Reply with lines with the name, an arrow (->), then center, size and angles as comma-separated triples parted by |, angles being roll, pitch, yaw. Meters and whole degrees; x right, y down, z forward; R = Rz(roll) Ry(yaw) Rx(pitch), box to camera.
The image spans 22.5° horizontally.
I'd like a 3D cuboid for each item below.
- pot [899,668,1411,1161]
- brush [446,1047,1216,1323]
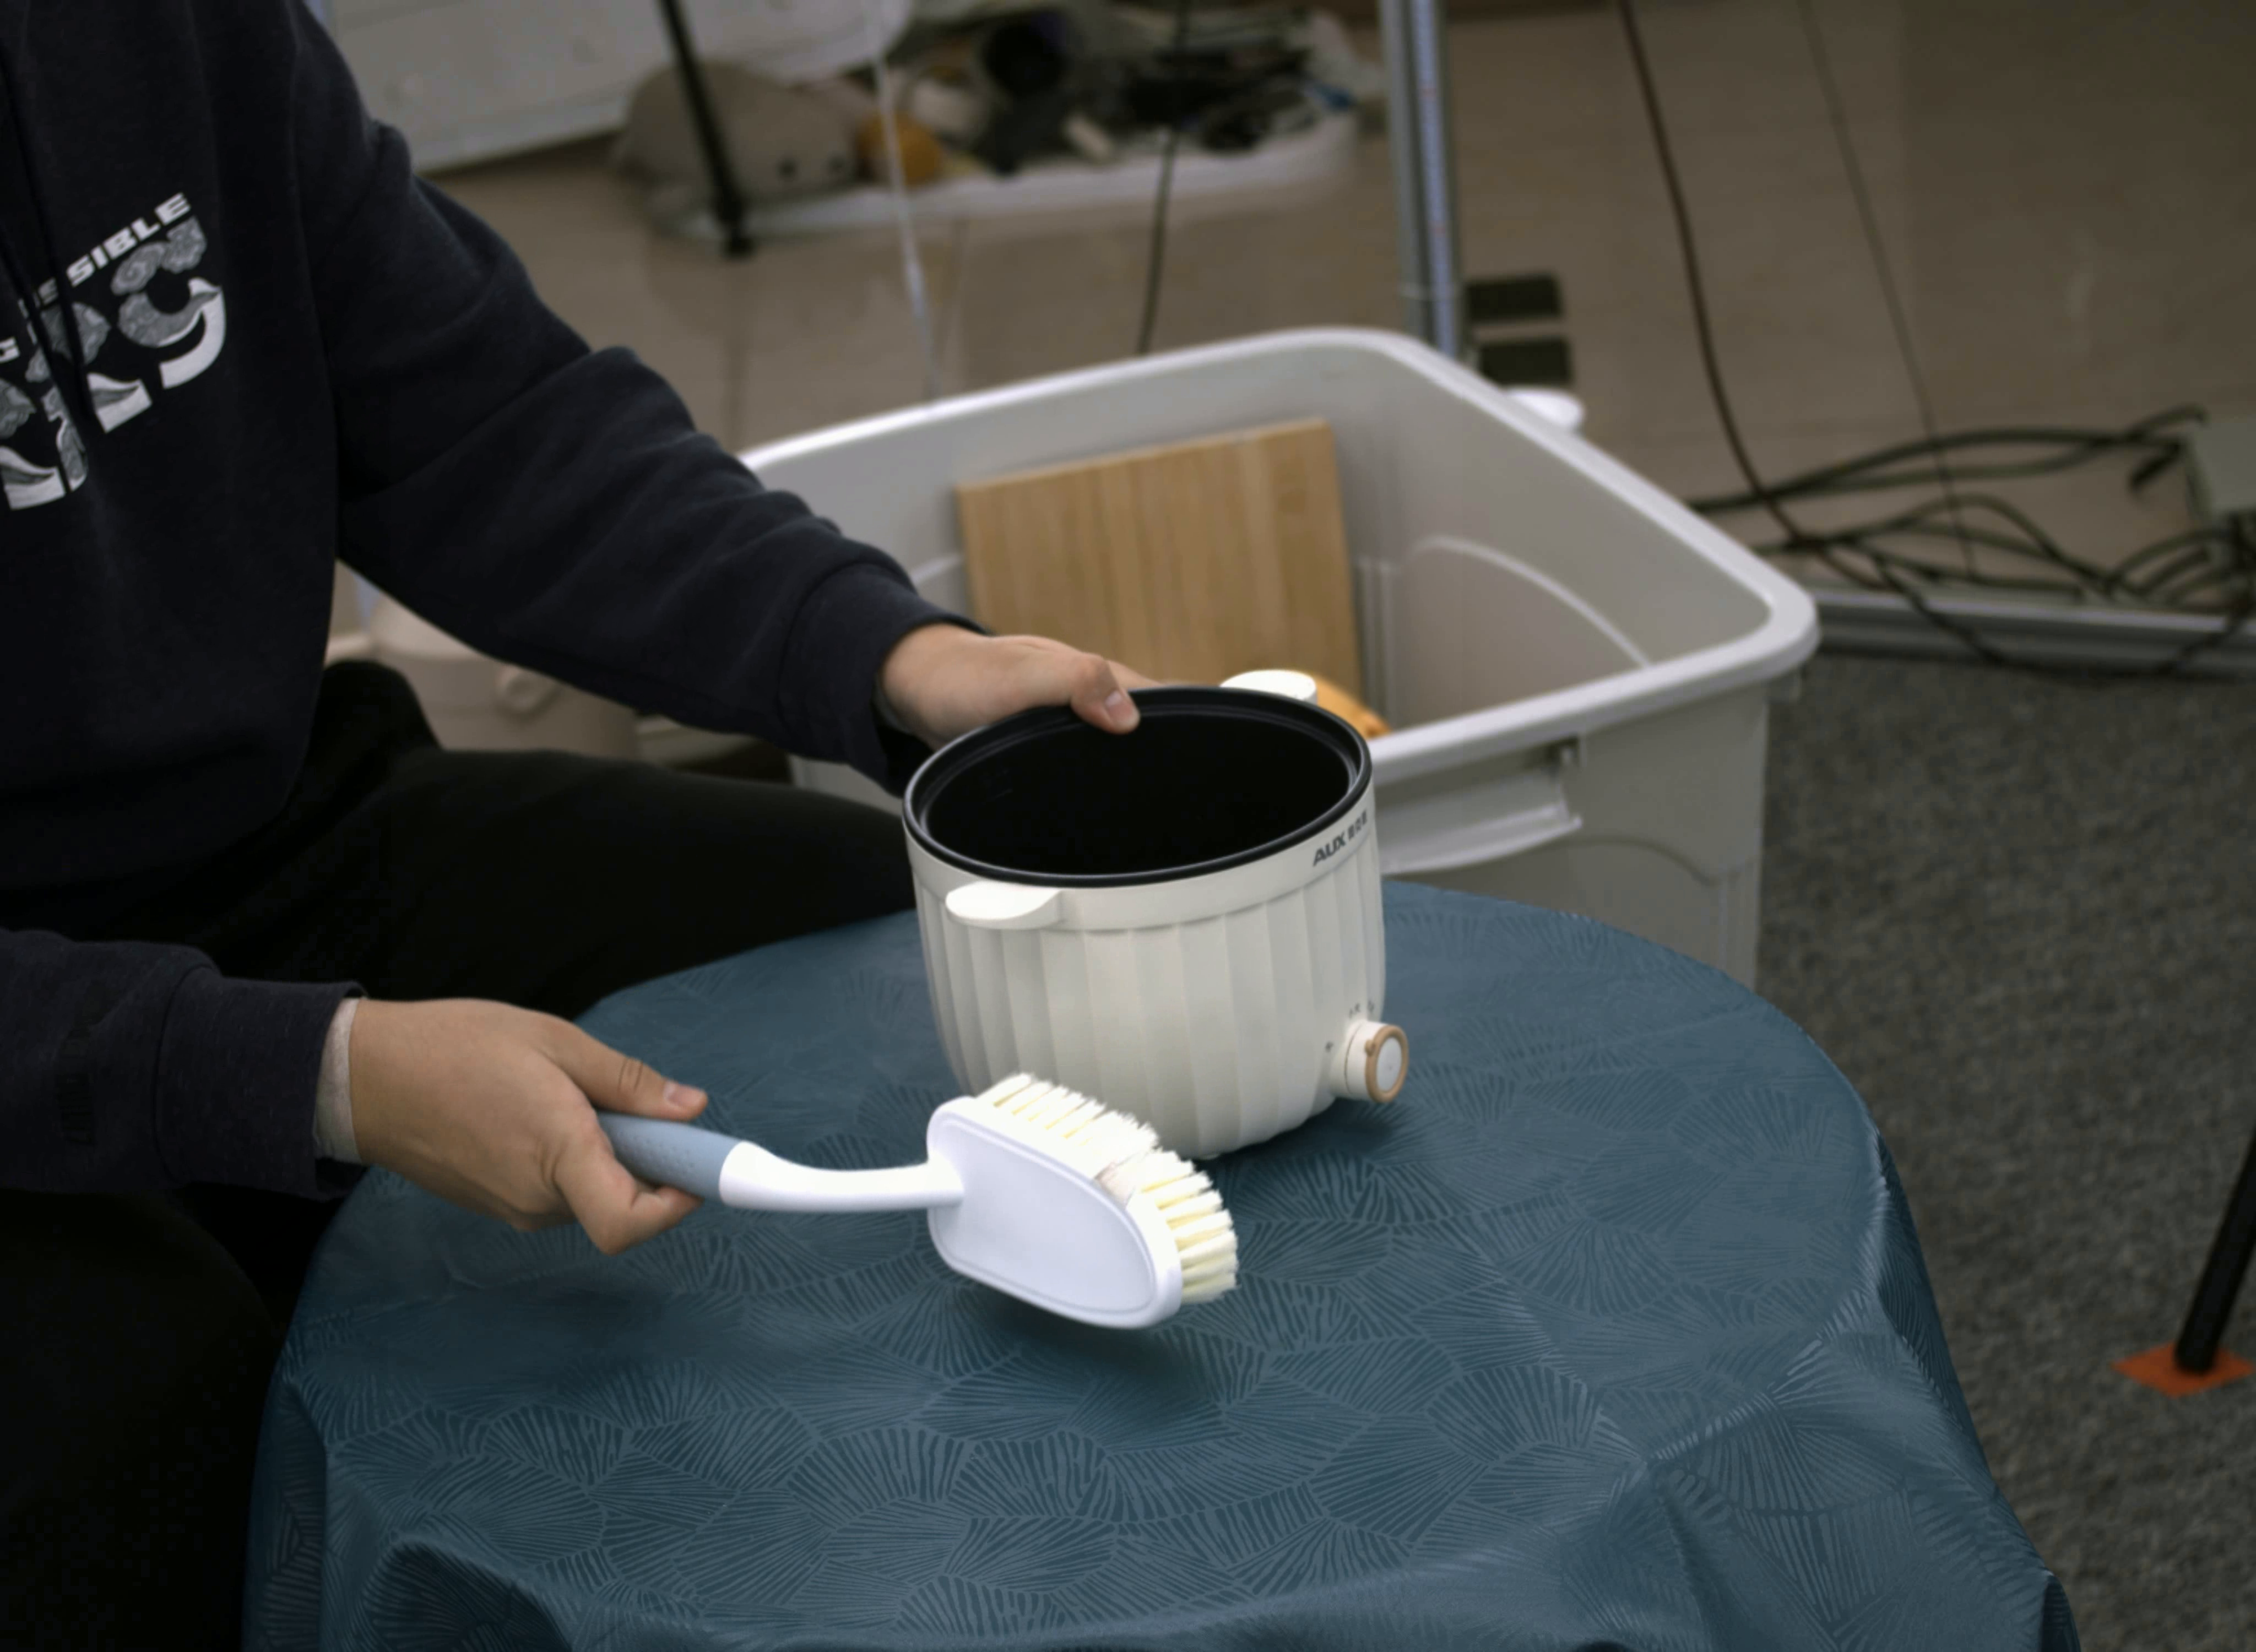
pot -> 0.015, 0.042, 2.188 | 0.190, 0.145, 0.237 | 6, 28, 31
brush -> -0.105, 0.112, 2.080 | 0.323, 0.083, 0.085 | 14, -10, 28
